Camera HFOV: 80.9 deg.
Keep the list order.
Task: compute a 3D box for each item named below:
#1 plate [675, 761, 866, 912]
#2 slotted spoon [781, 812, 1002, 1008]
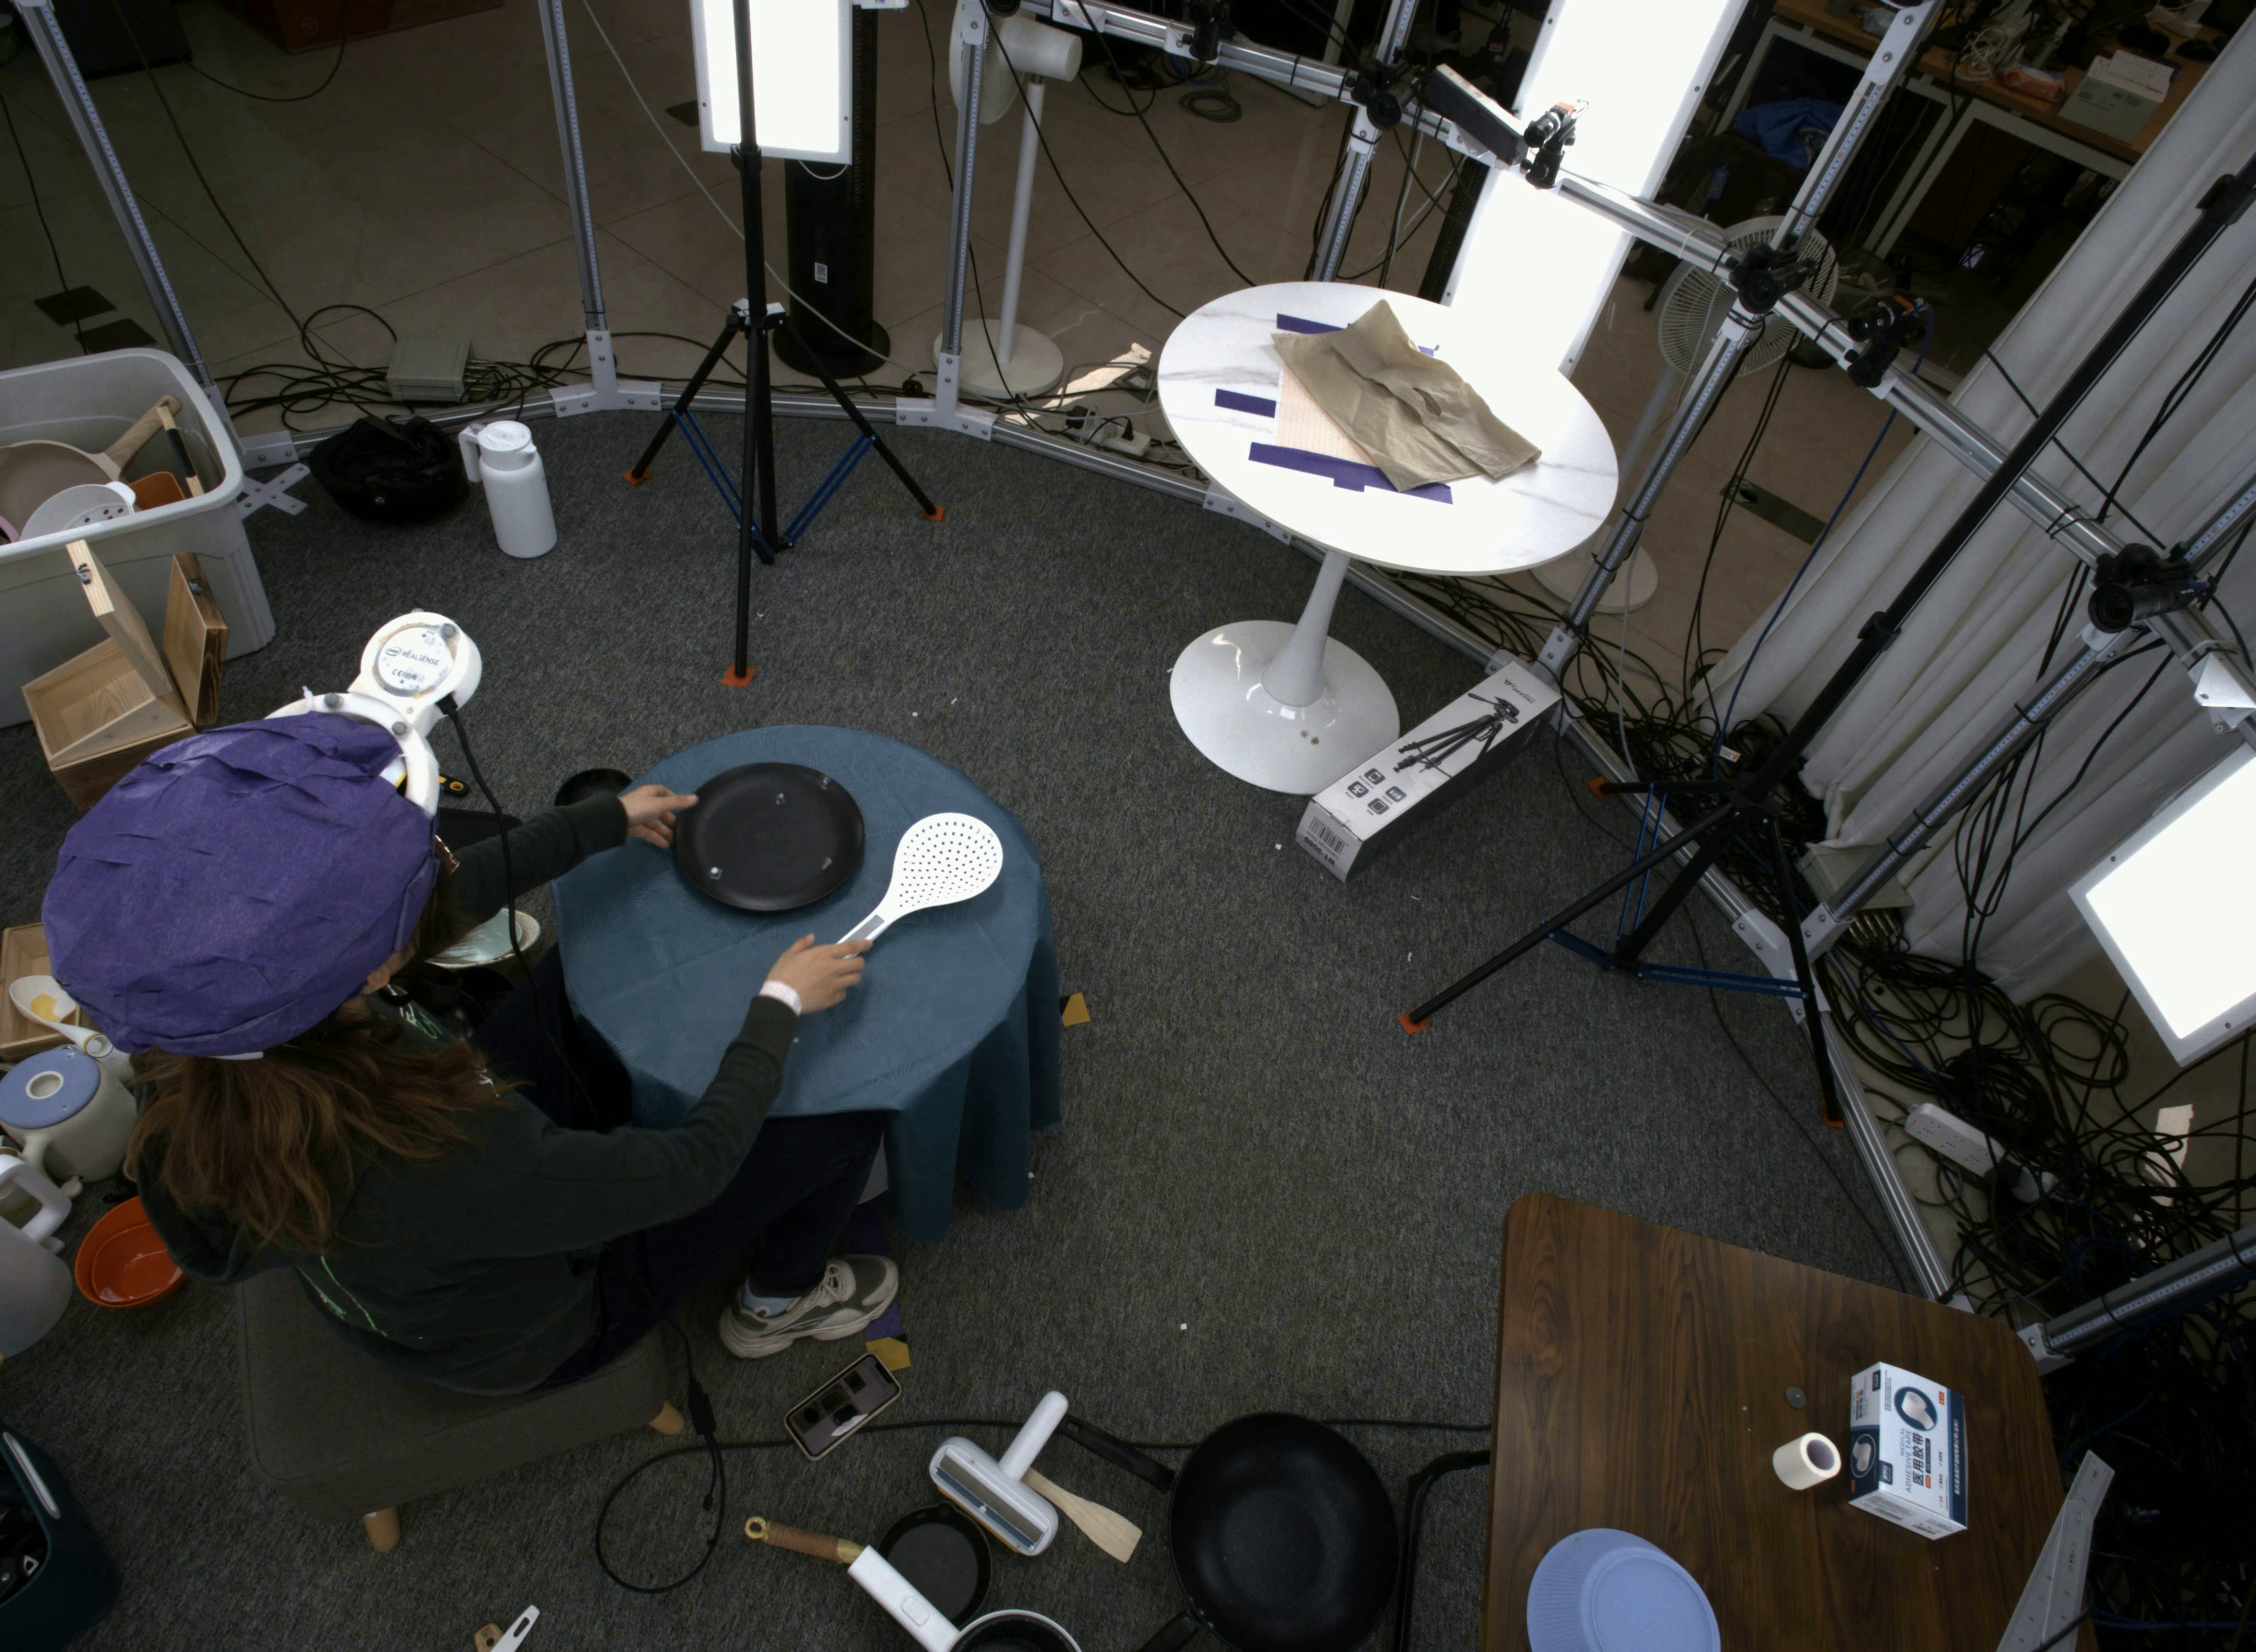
[{"bbox_3d":[-0.466,0.015,1.692,0.244,0.024,0.240,8,53,-9],"label":"plate"},{"bbox_3d":[-0.302,0.106,1.652,0.133,0.047,0.350,37,55,17],"label":"slotted spoon"}]
